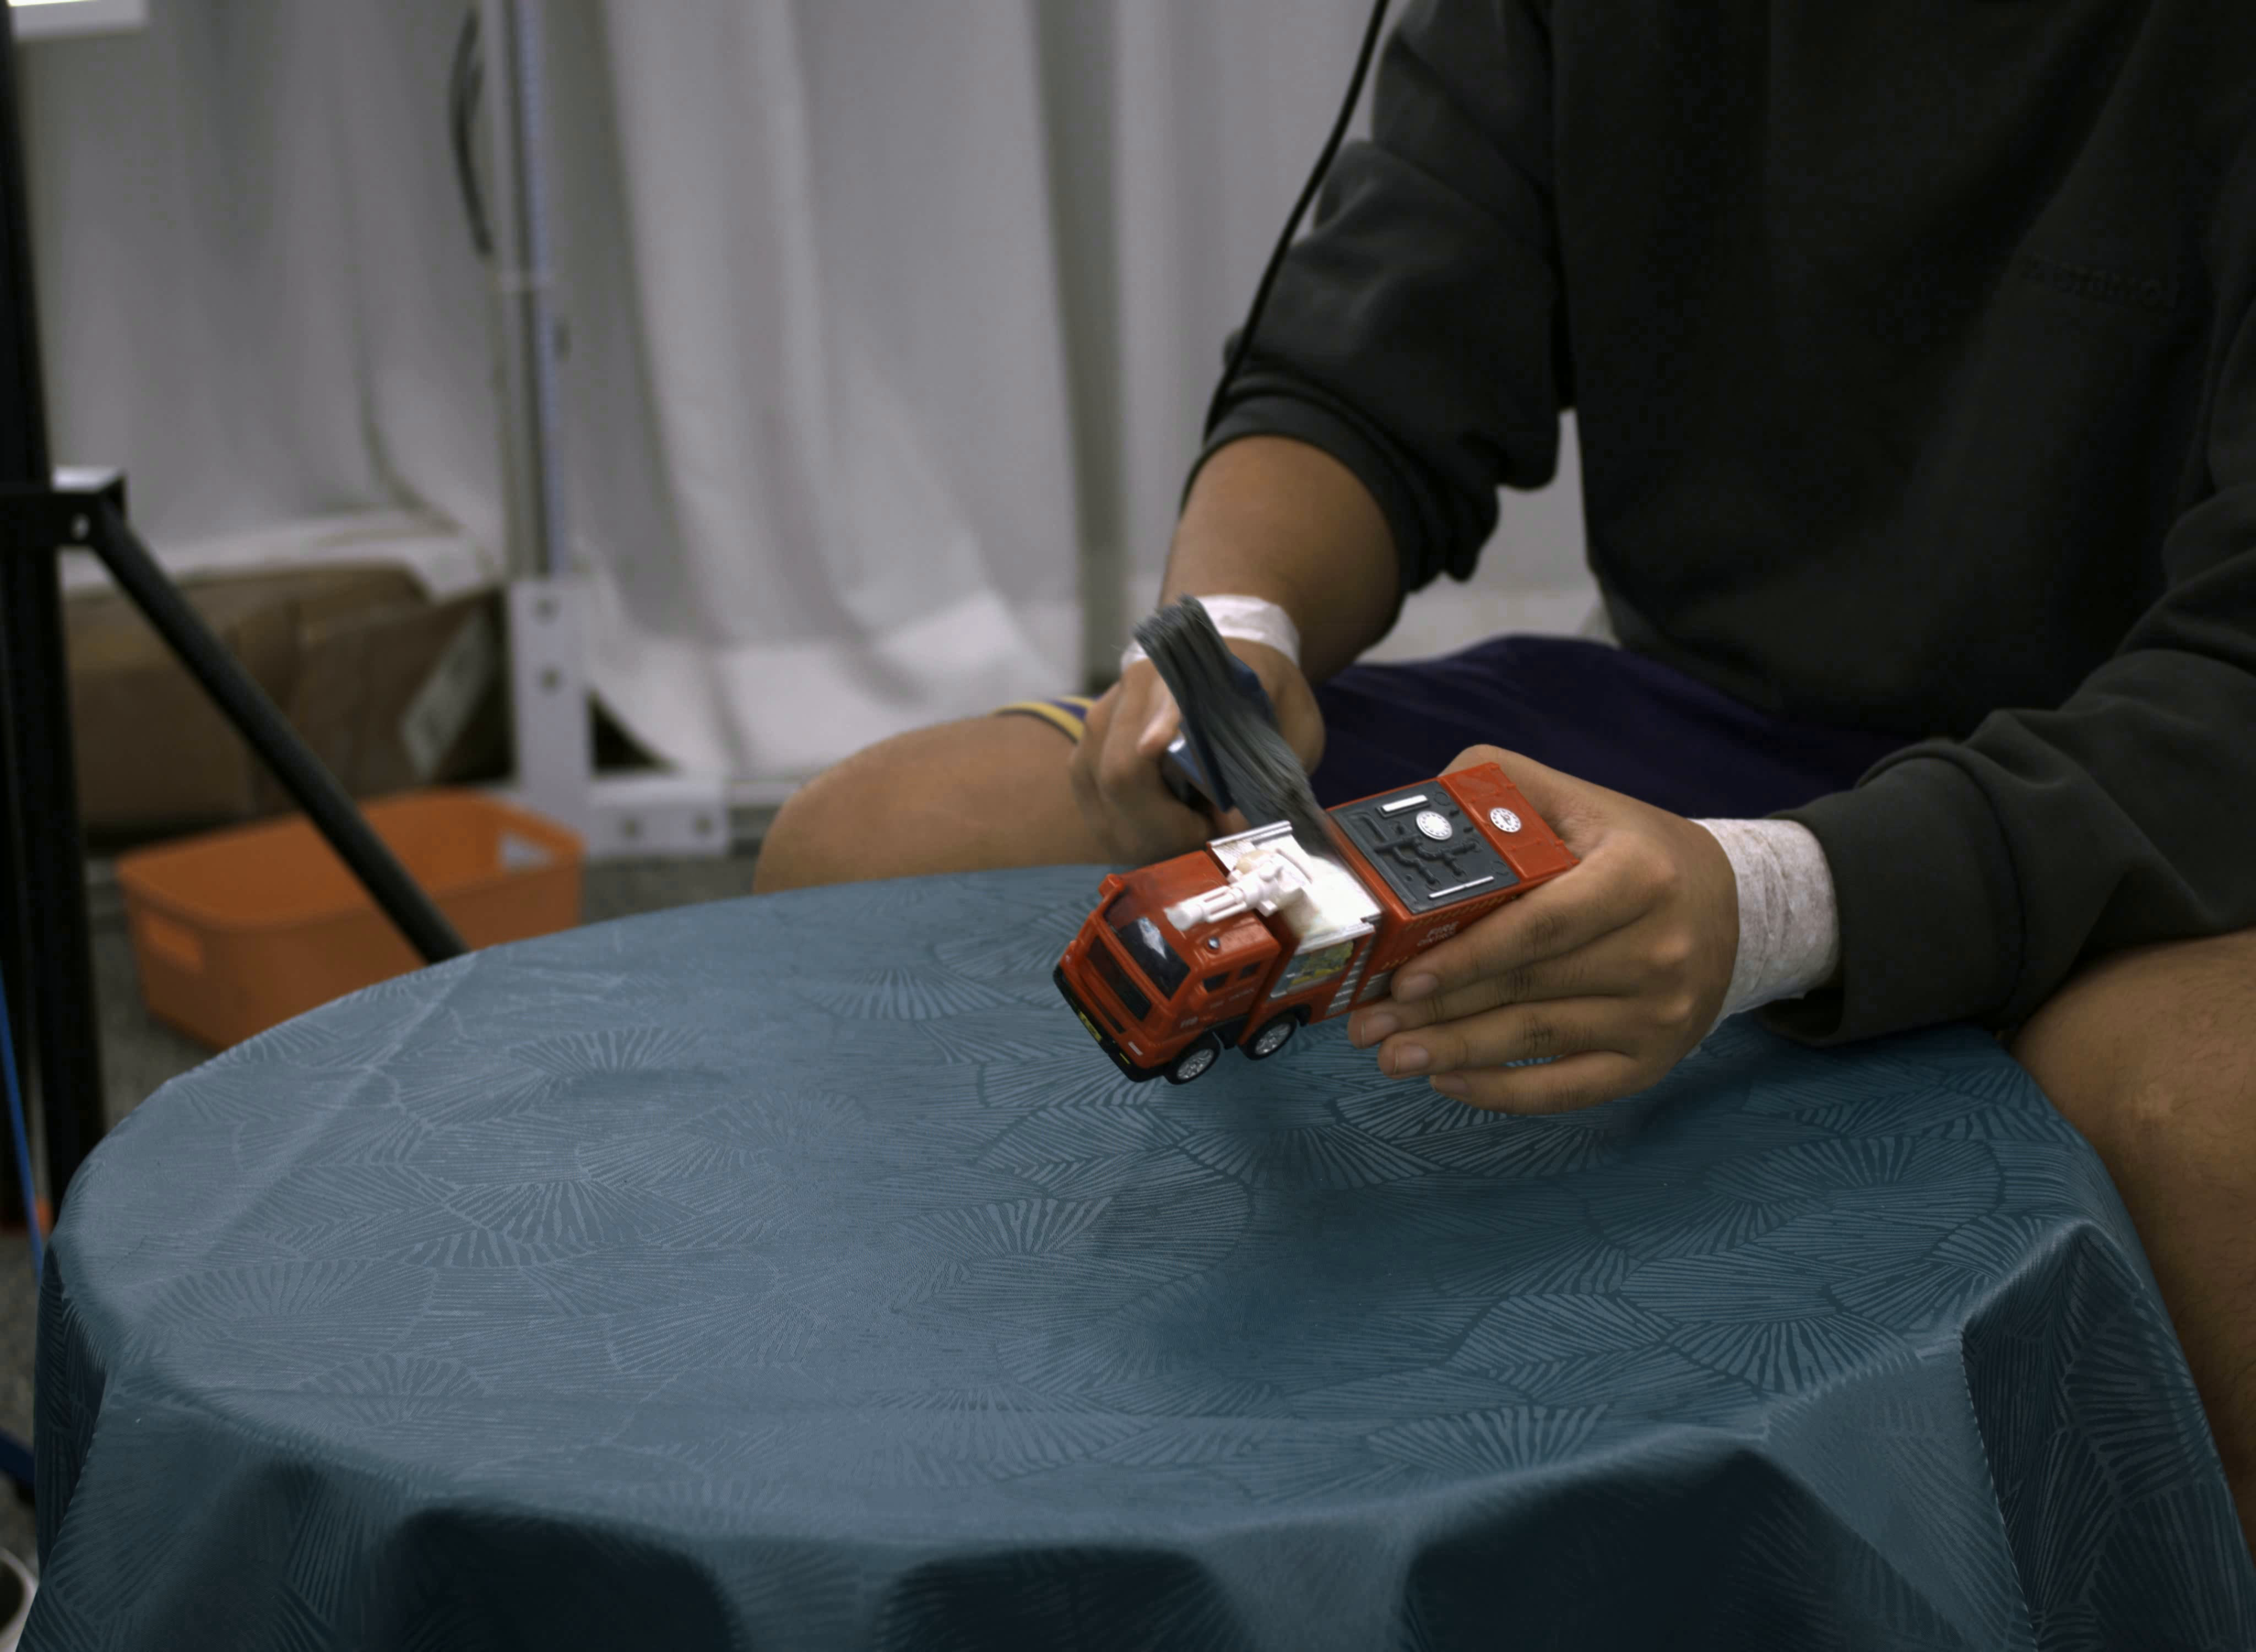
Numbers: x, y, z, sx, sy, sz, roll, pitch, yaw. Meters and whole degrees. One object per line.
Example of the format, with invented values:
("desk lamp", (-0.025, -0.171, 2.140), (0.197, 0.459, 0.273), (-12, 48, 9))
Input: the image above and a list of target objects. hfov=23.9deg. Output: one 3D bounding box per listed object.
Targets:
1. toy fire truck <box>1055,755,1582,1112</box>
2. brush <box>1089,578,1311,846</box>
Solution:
("toy fire truck", (0.056, 0.029, 1.520), (0.164, 0.070, 0.055), (-15, 55, -40))
("brush", (0.019, -0.030, 1.662), (0.033, 0.096, 0.274), (-41, 2, -4))
